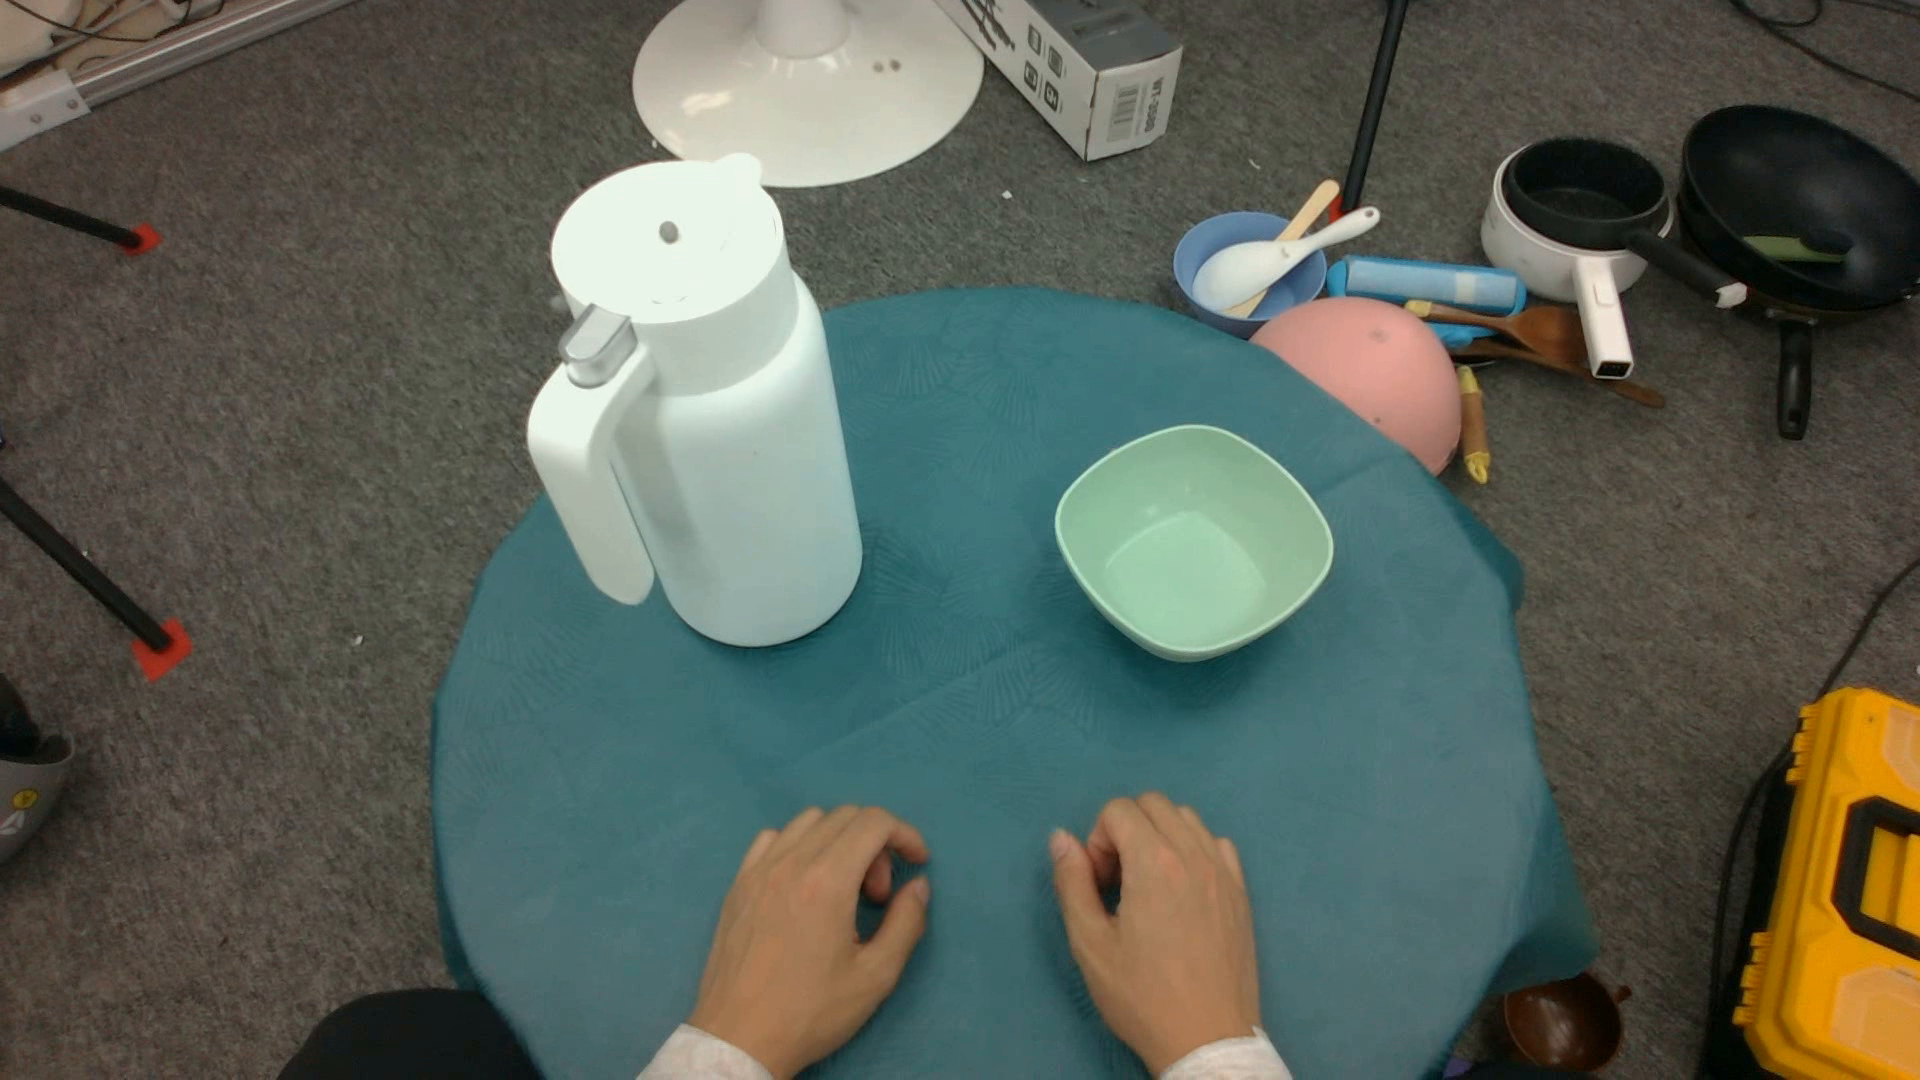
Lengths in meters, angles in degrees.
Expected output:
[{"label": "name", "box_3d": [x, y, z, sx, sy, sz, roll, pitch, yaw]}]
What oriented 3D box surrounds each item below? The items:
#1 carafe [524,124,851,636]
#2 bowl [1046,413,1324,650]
[{"label": "carafe", "box_3d": [-0.130, -0.050, 0.688, 0.124, 0.267, 0.173, 19, 59, 12]}, {"label": "bowl", "box_3d": [0.123, 0.004, 0.772, 0.151, 0.058, 0.152, -1, 56, 1]}]
